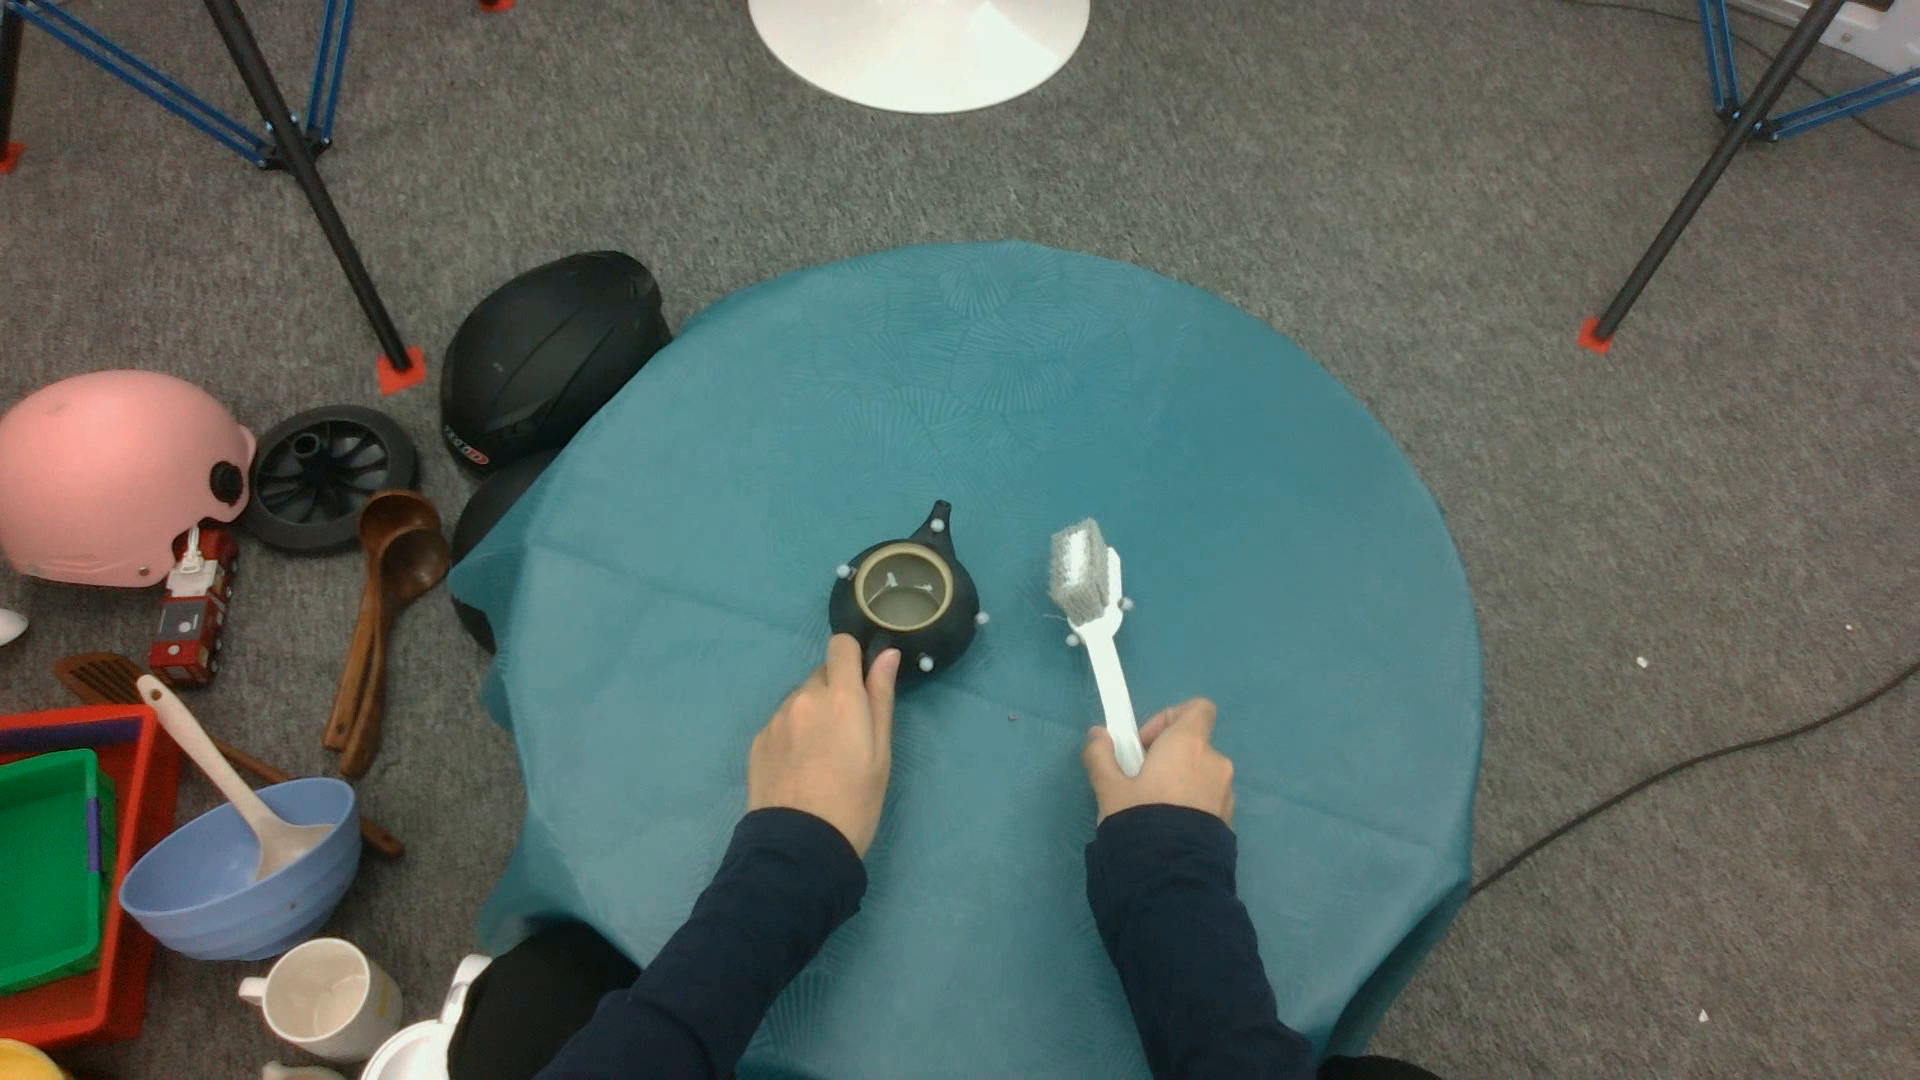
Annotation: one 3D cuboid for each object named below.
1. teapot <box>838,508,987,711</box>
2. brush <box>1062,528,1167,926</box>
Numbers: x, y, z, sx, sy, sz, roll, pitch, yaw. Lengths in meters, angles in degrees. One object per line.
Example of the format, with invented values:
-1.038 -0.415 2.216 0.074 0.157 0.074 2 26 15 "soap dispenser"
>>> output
-0.029 0.046 0.833 0.091 0.053 0.134 16 59 11 "teapot"
0.088 0.099 0.796 0.034 0.050 0.244 -17 52 20 "brush"
